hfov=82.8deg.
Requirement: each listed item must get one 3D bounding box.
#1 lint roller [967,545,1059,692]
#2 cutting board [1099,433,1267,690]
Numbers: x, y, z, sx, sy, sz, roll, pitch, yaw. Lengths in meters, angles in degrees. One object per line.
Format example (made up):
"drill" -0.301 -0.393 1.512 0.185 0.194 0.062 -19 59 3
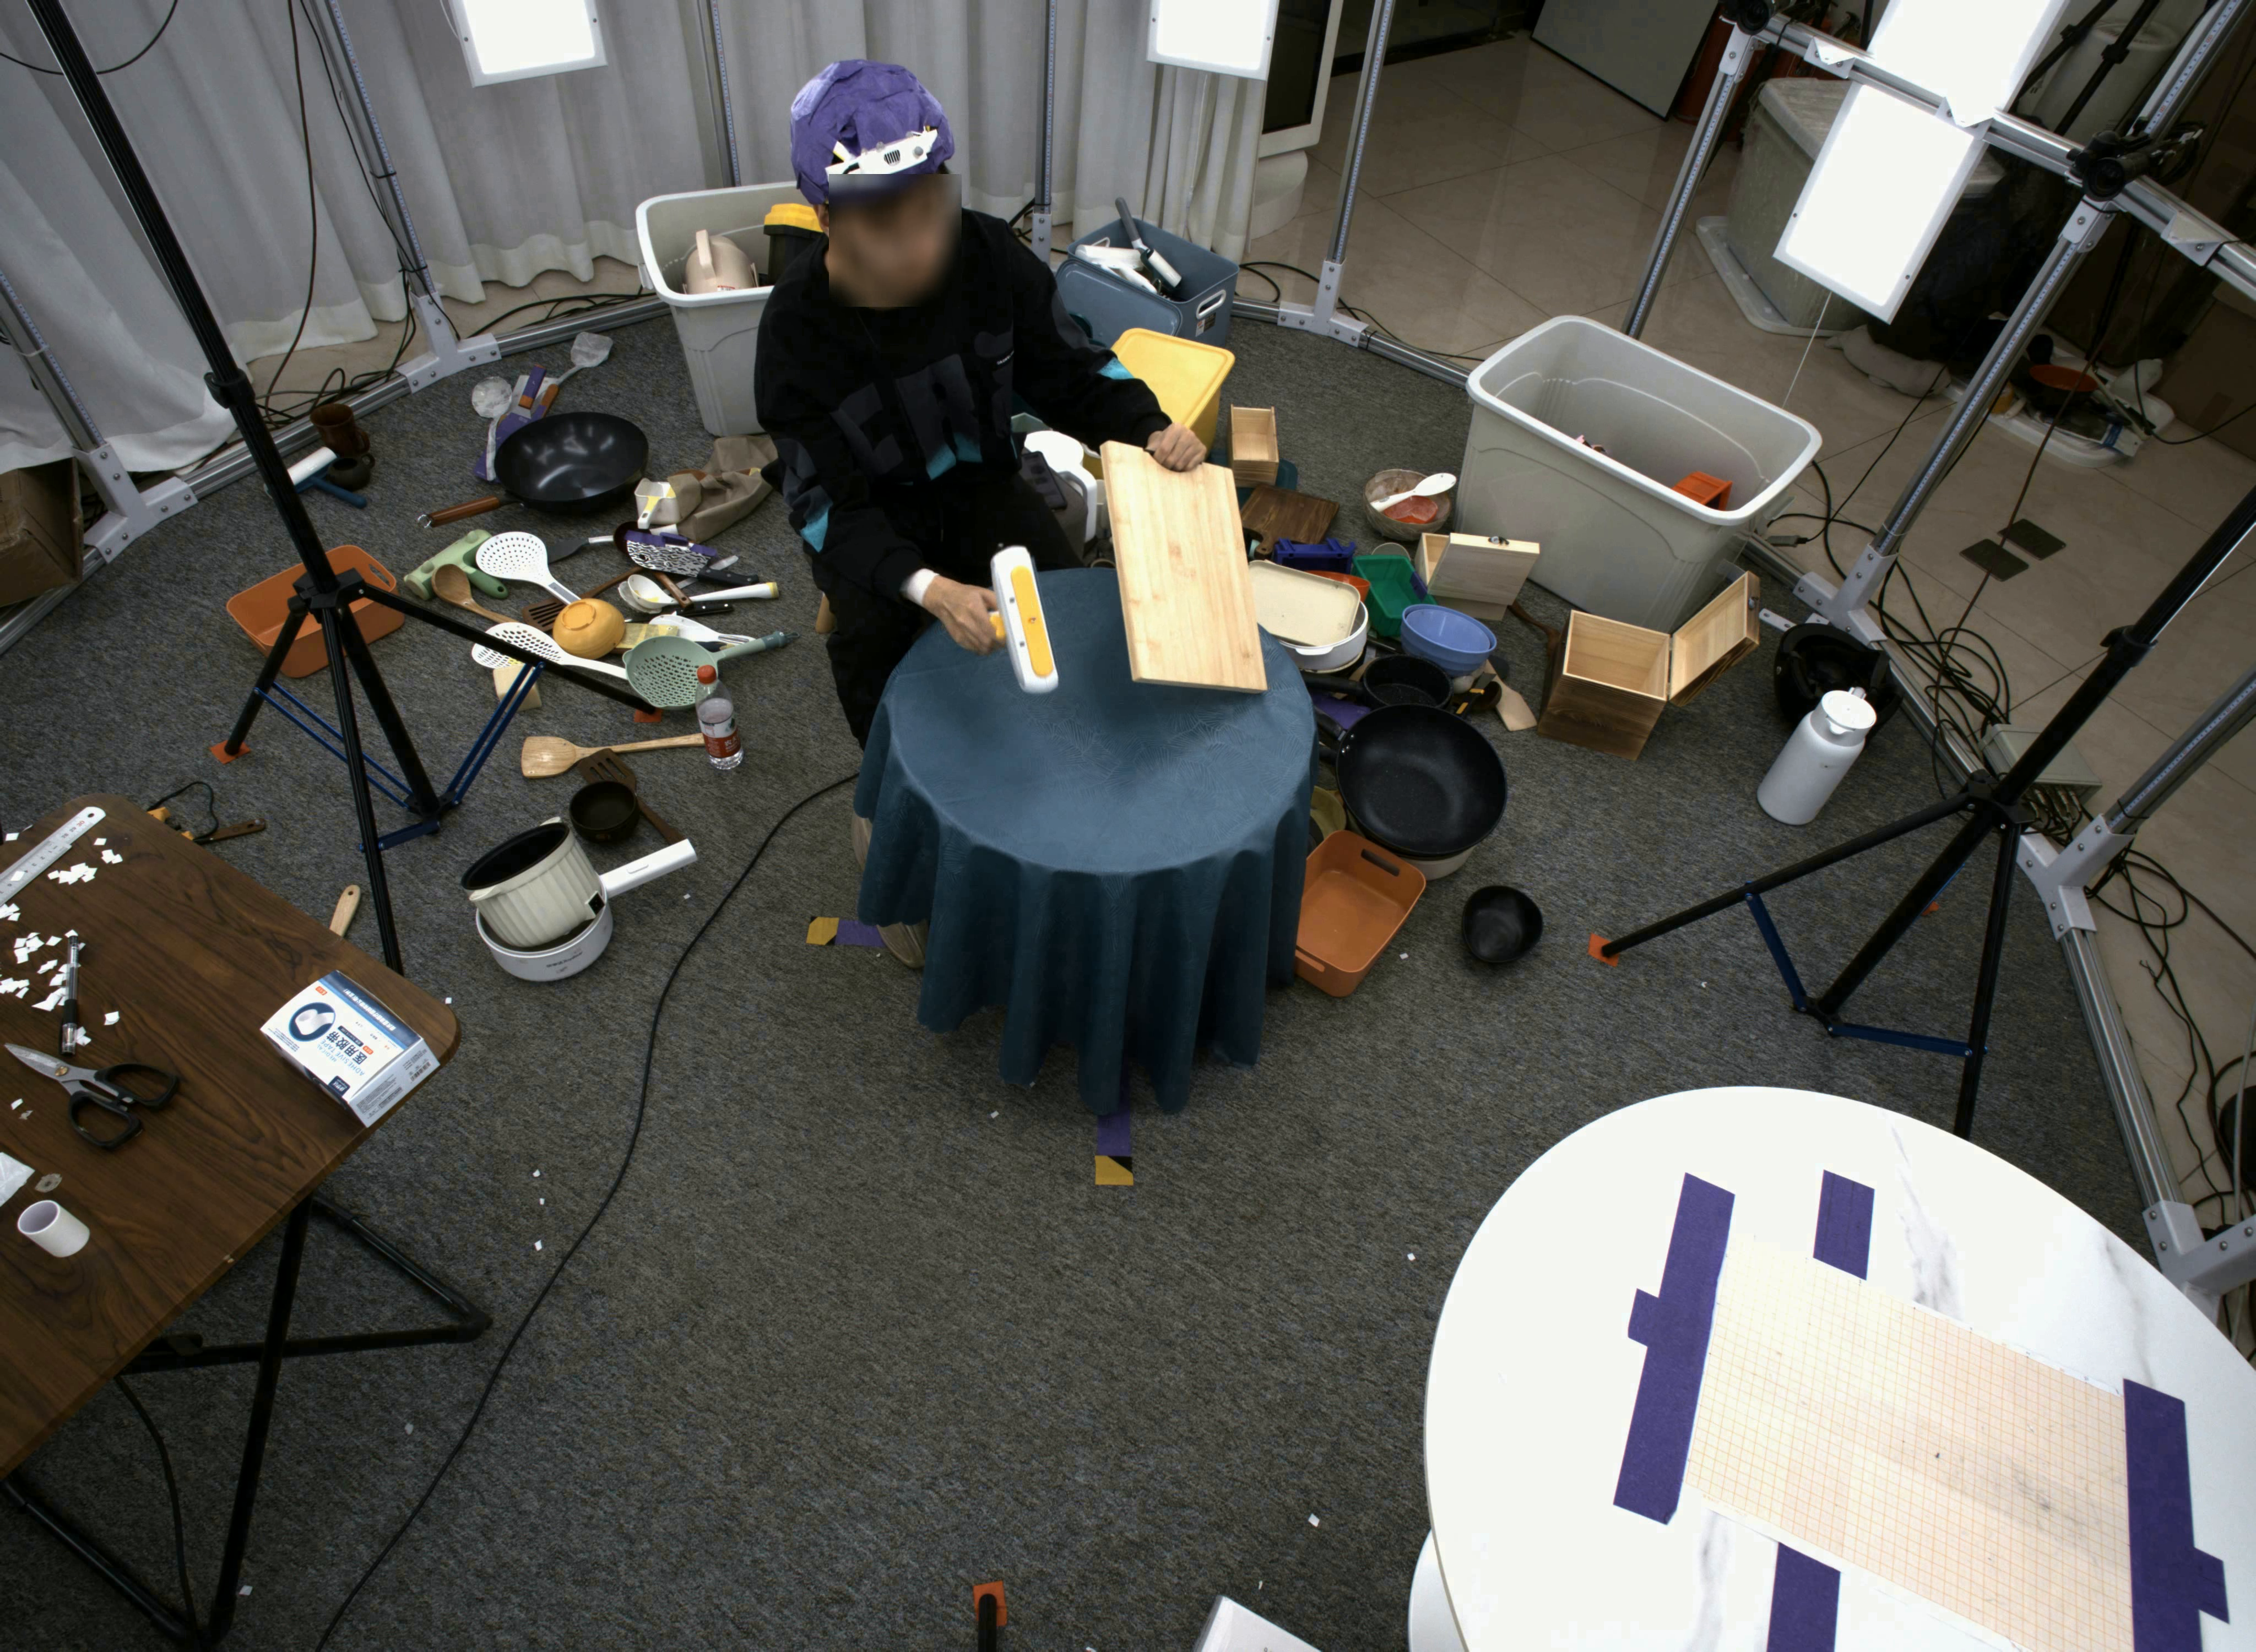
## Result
"lint roller" -0.164 -0.271 1.724 0.074 0.191 0.193 -23 12 -18
"cutting board" 0.079 -0.365 1.804 0.249 0.023 0.352 1 75 -40
